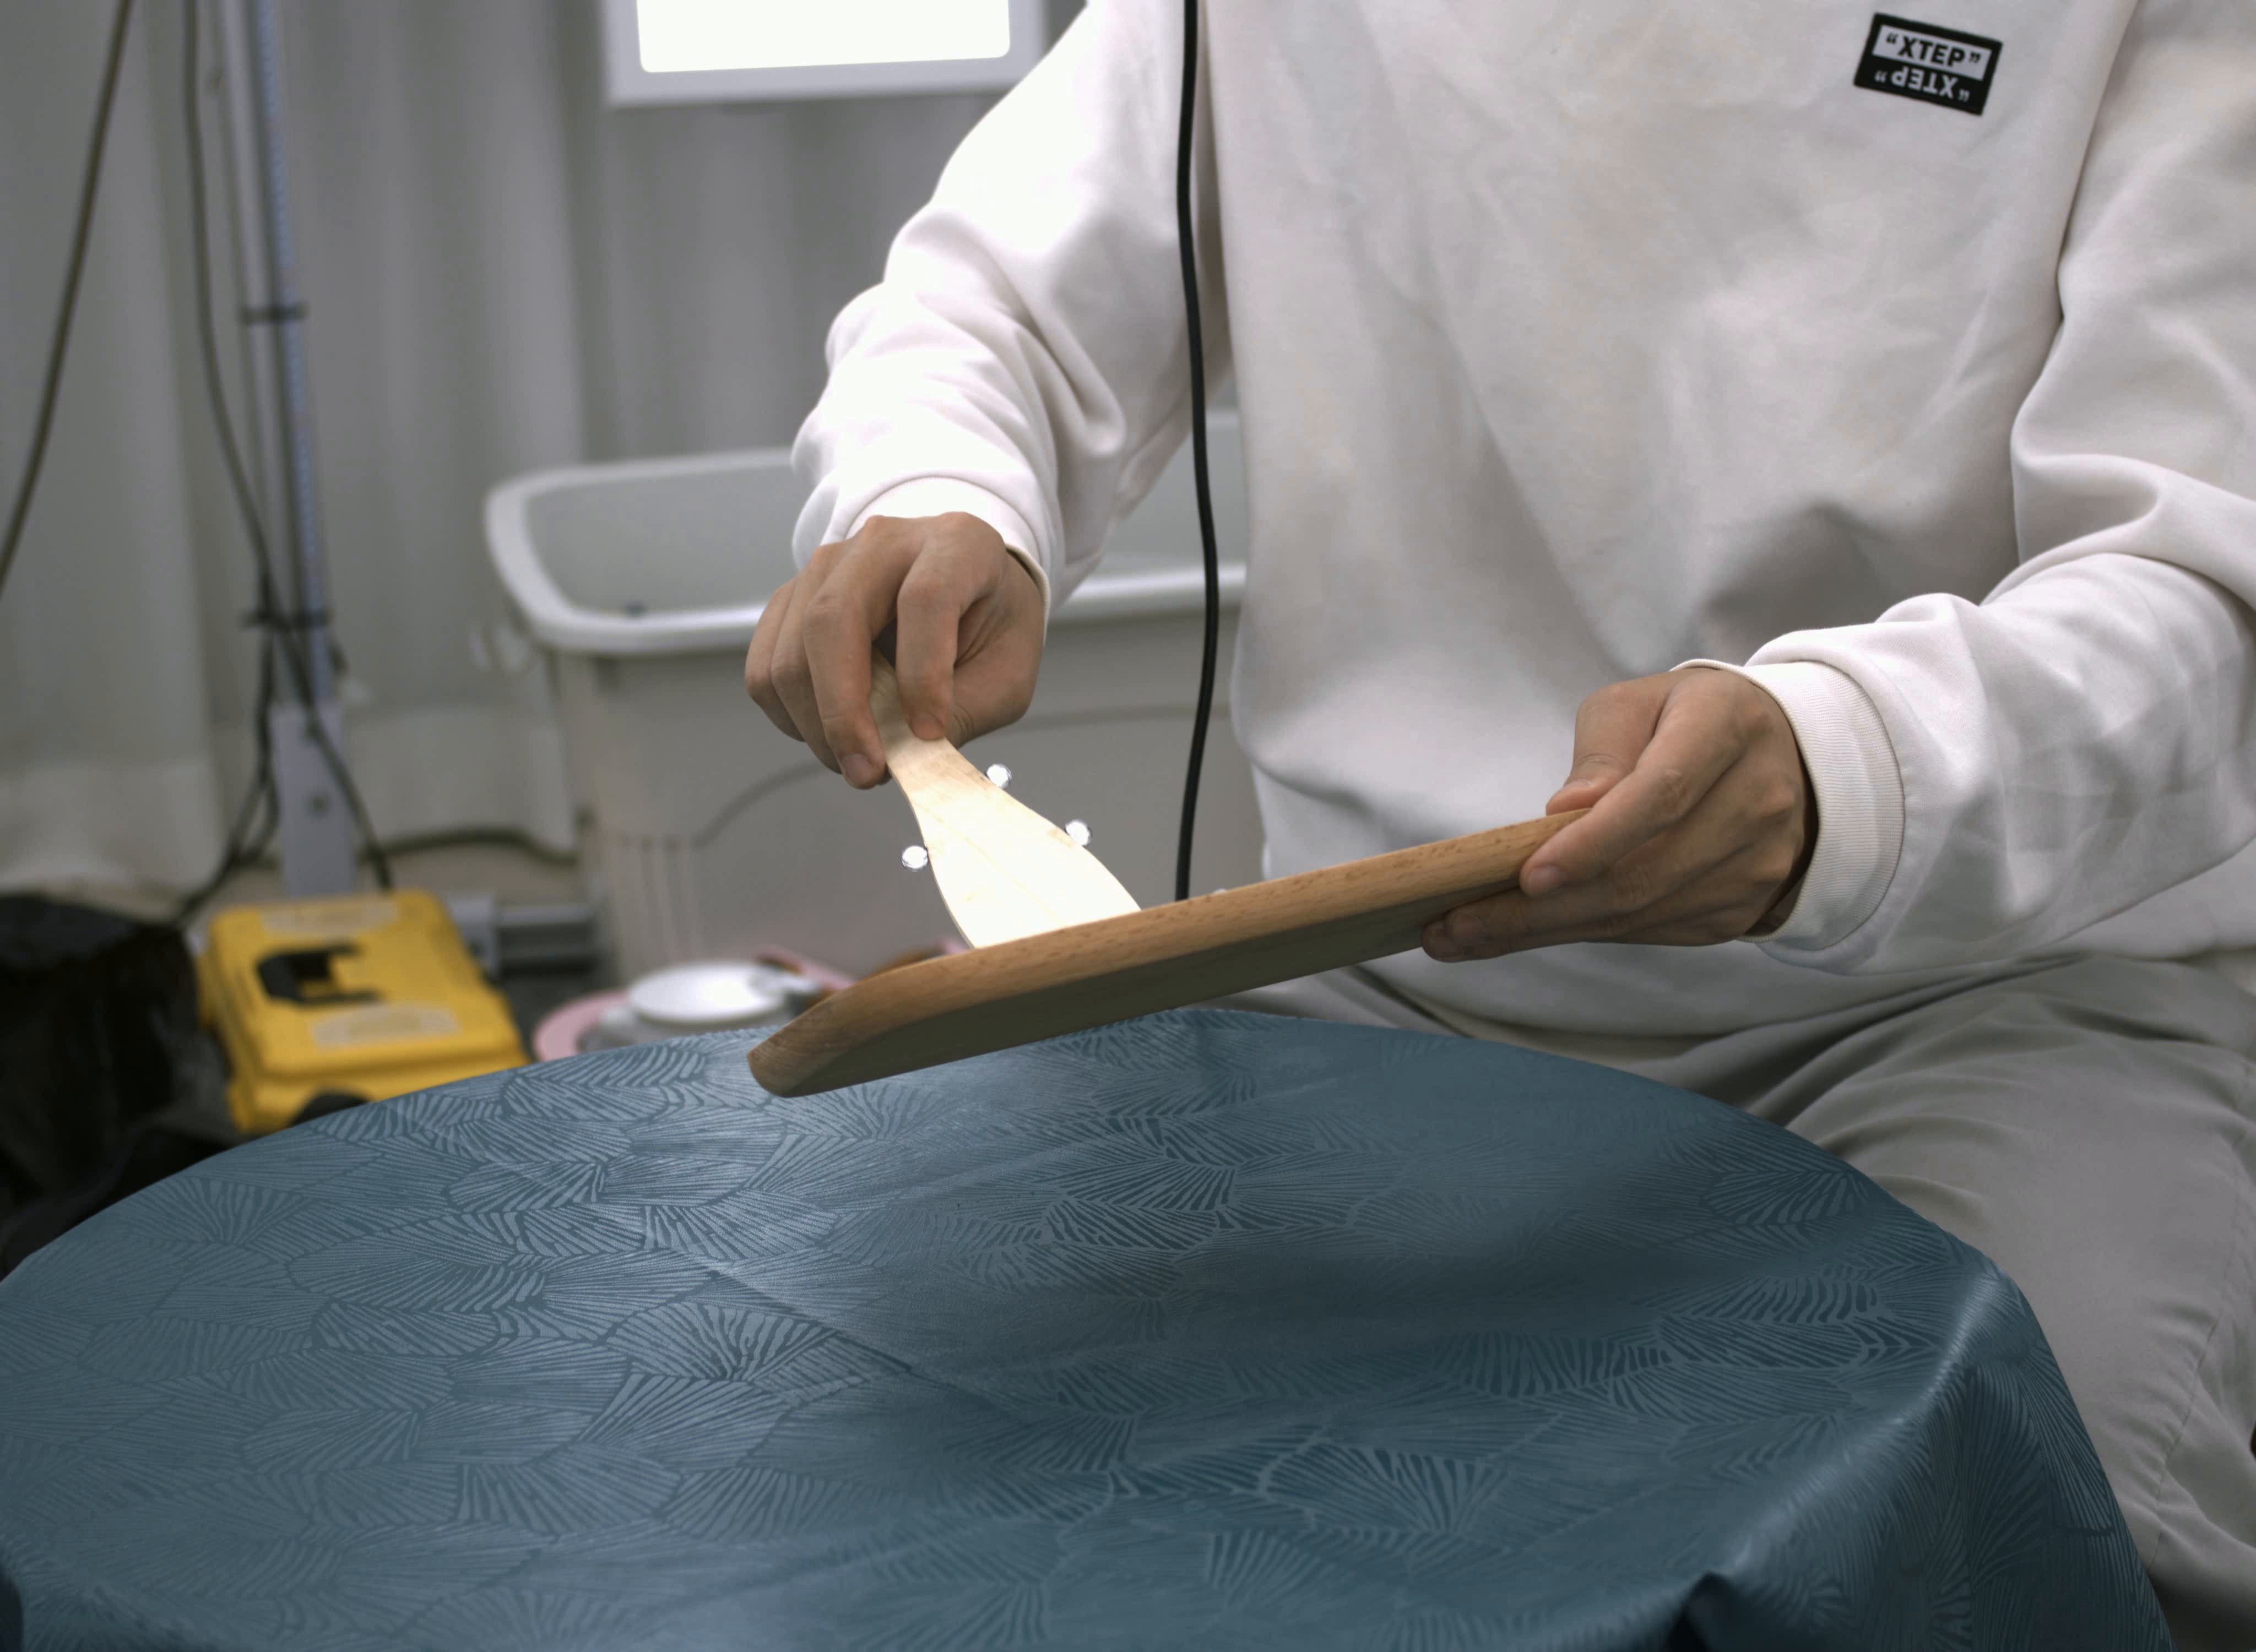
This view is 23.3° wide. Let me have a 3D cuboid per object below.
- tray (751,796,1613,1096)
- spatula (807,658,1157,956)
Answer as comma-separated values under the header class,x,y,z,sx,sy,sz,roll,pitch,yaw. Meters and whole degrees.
class,x,y,z,sx,sy,sz,roll,pitch,yaw
tray,0.017,0.036,1.590,0.250,0.023,0.130,-13,-6,-24
spatula,-0.053,-0.005,1.694,0.050,0.005,0.210,-21,35,-17
